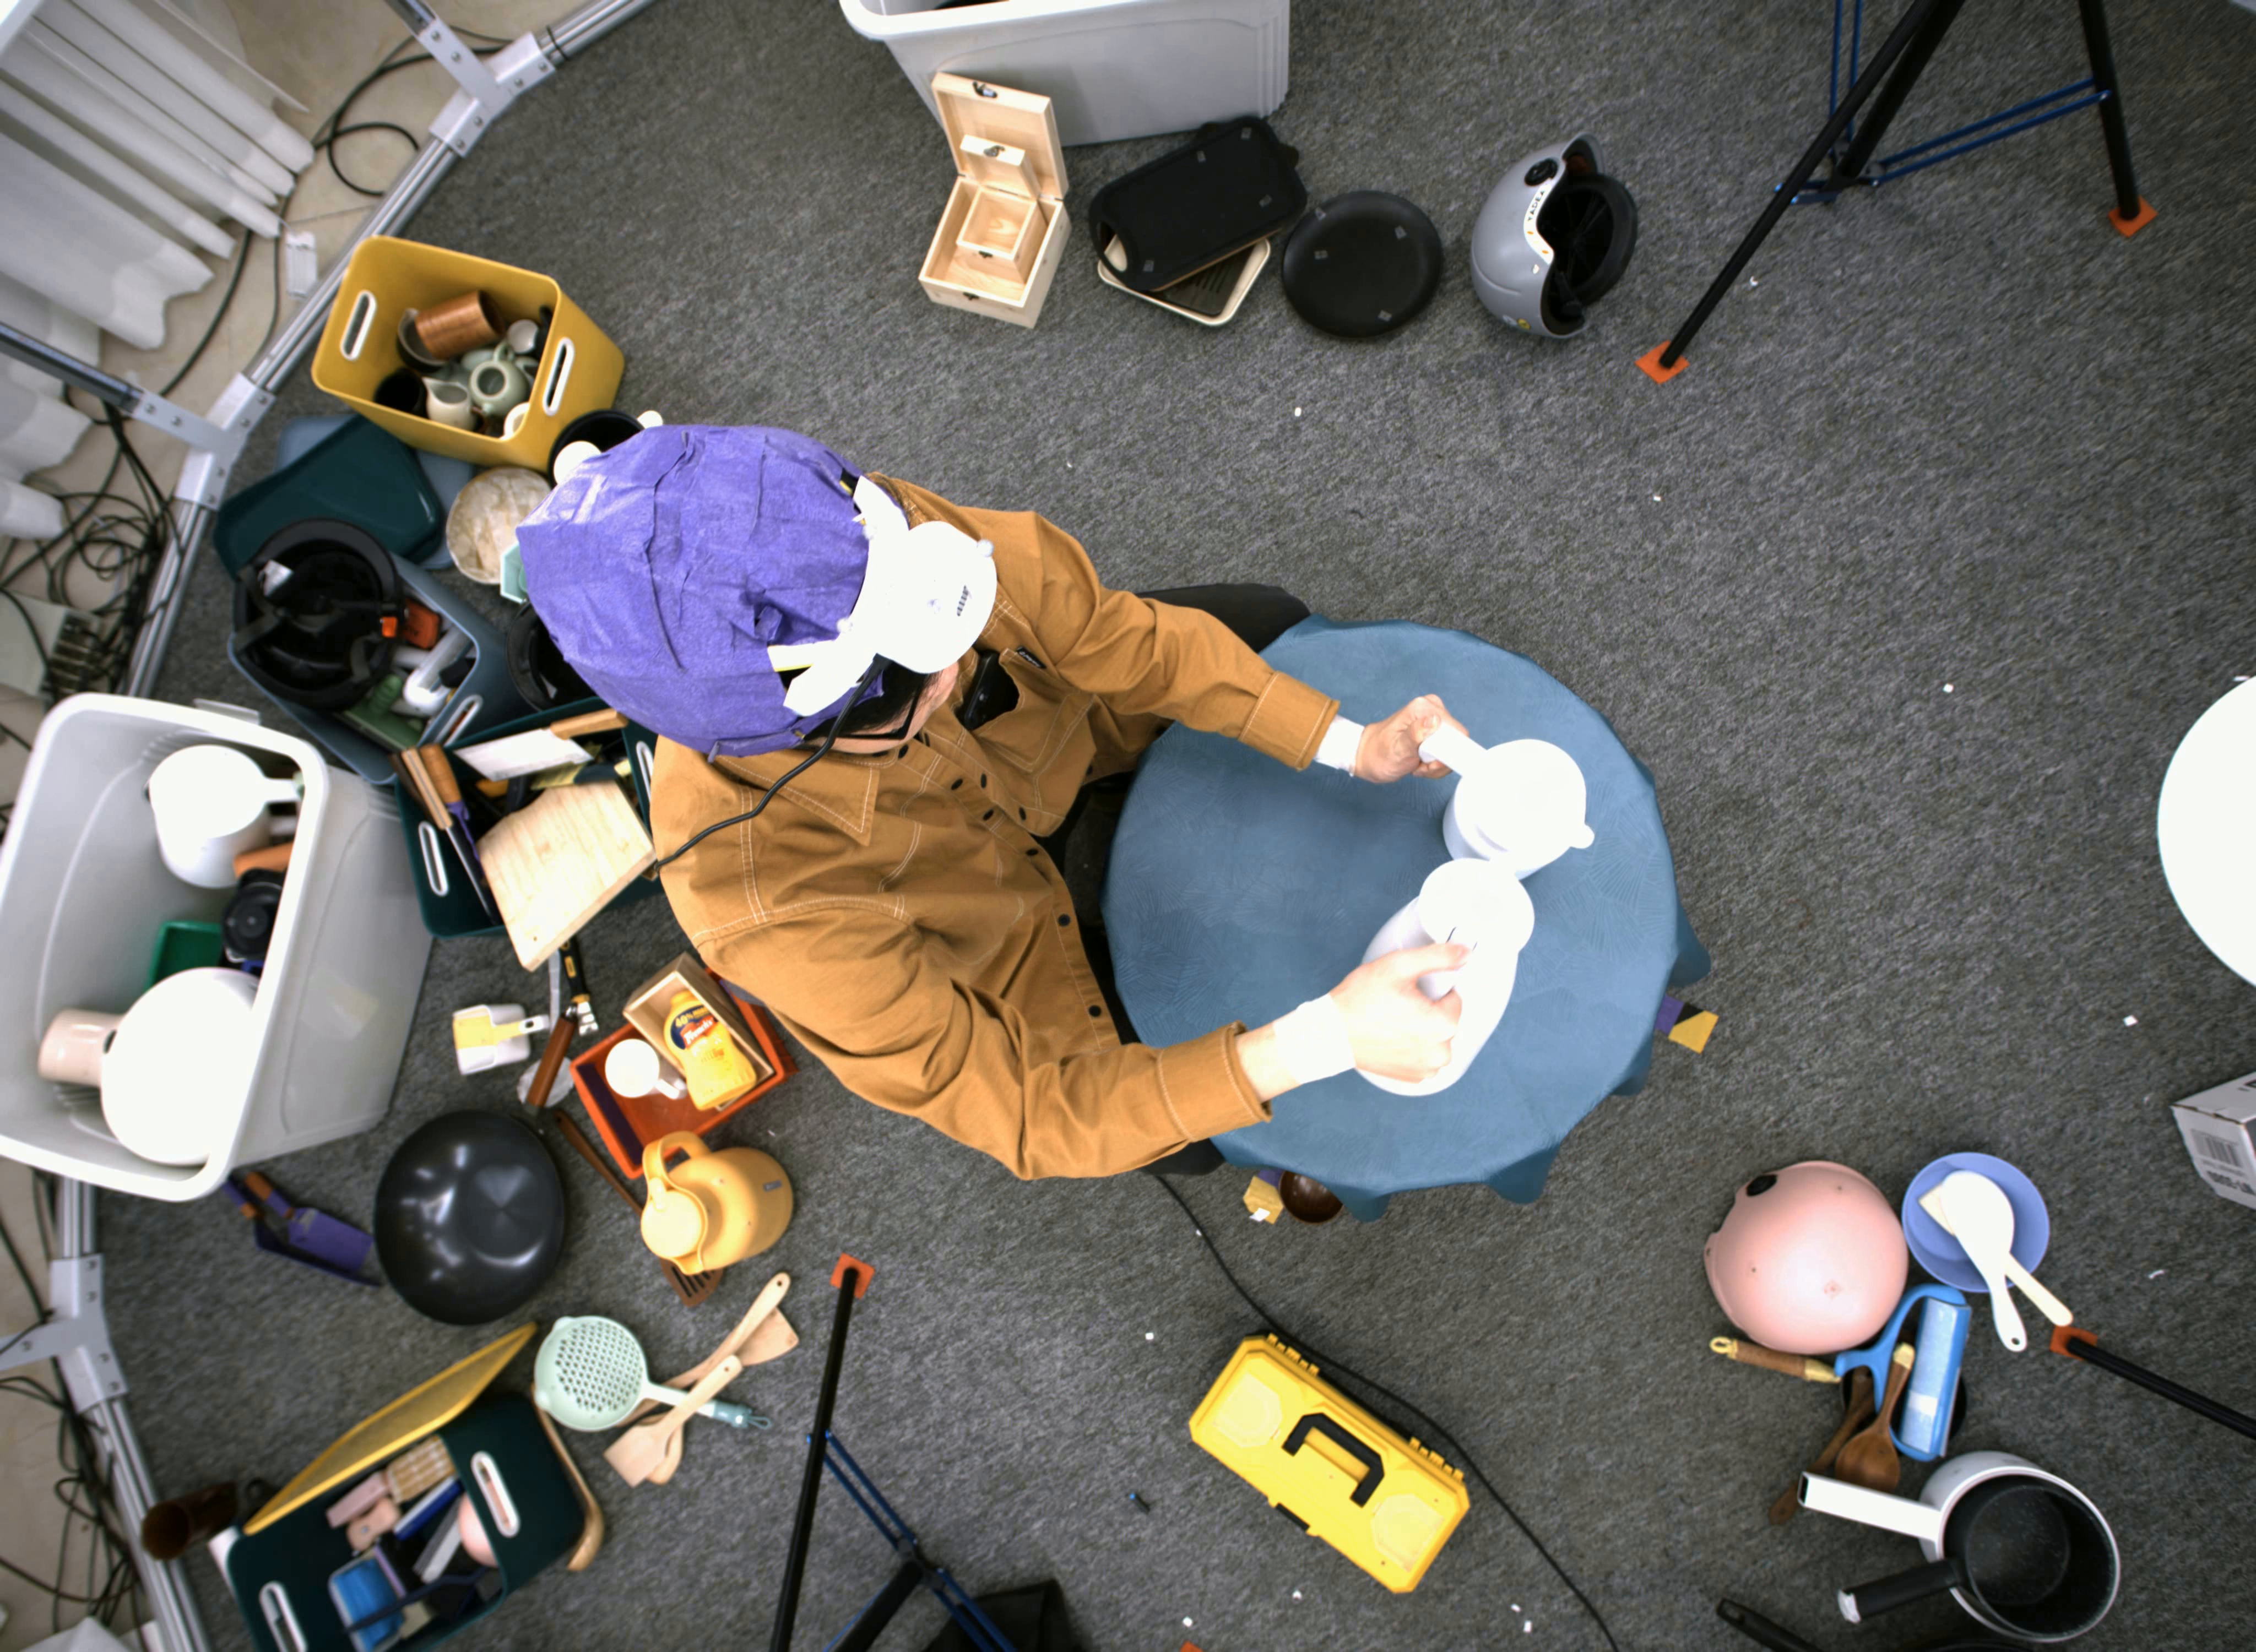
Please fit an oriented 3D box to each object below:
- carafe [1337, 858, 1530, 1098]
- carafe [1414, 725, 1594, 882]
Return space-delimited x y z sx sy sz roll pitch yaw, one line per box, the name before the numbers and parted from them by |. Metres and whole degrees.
carafe | 0.257 0.139 1.175 0.132 0.254 0.164 30 62 14
carafe | 0.352 -0.022 1.315 0.172 0.268 0.124 36 94 11
